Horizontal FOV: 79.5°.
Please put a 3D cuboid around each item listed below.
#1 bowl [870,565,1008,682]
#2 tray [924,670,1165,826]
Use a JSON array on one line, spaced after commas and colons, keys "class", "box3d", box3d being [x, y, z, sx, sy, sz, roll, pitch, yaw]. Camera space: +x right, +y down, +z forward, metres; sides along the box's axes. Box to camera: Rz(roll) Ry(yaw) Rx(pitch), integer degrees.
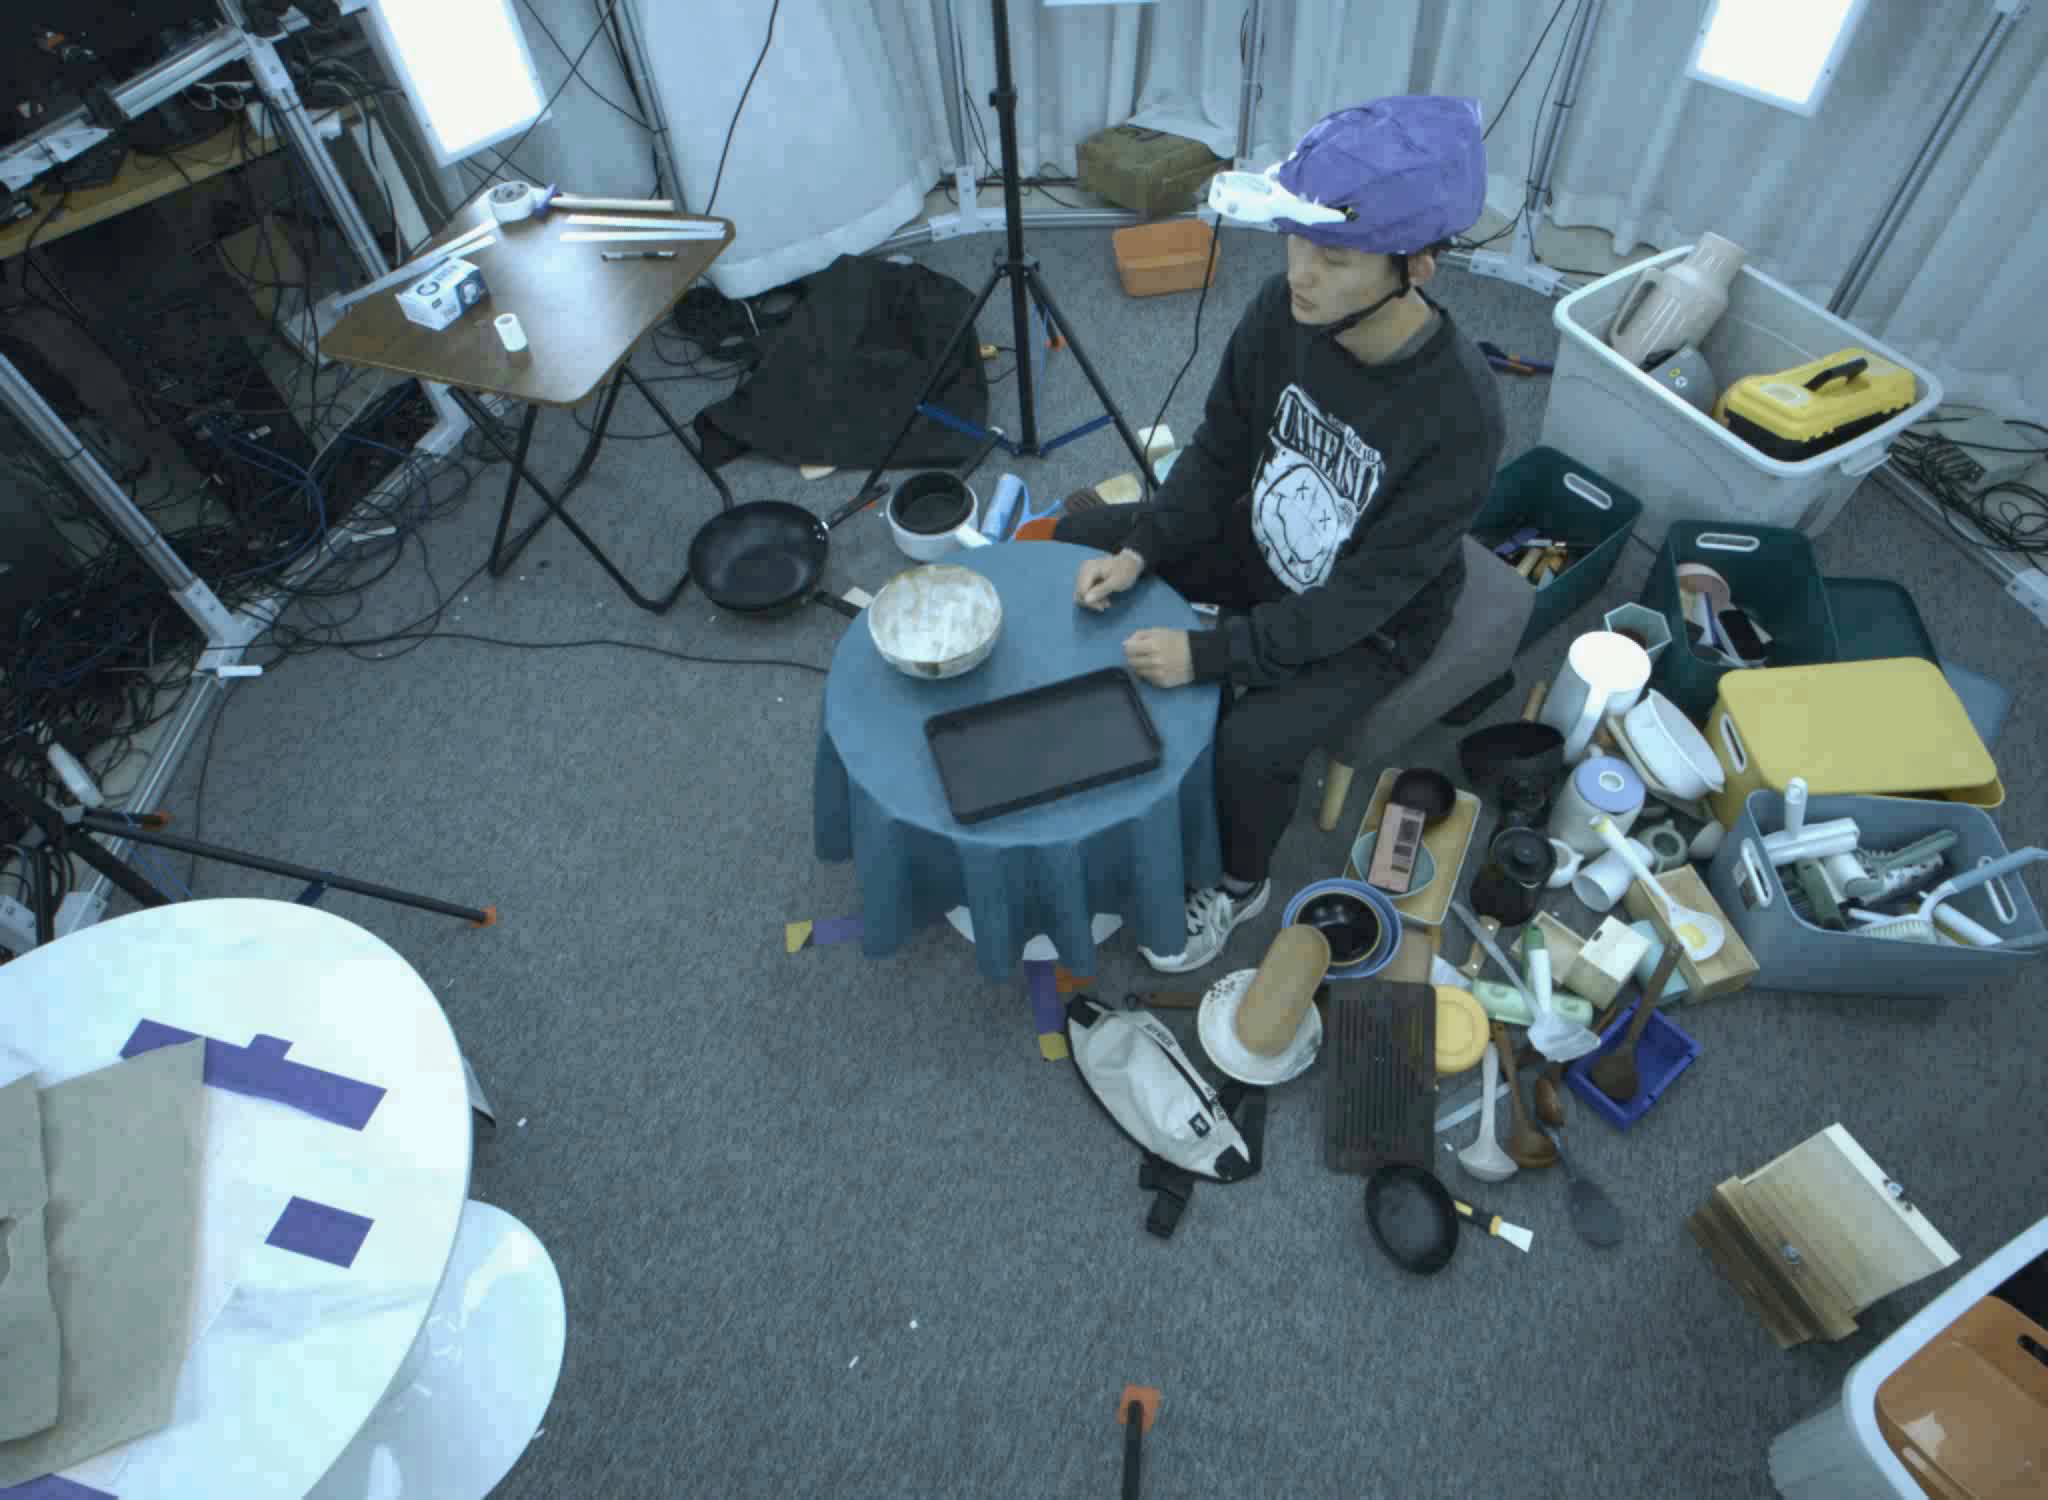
[{"class": "bowl", "box3d": [-0.124, -0.176, 1.868, 0.214, 0.095, 0.212, -1, 54, 2]}, {"class": "tray", "box3d": [0.028, -0.006, 1.777, 0.320, 0.037, 0.181, -15, 54, -10]}]
